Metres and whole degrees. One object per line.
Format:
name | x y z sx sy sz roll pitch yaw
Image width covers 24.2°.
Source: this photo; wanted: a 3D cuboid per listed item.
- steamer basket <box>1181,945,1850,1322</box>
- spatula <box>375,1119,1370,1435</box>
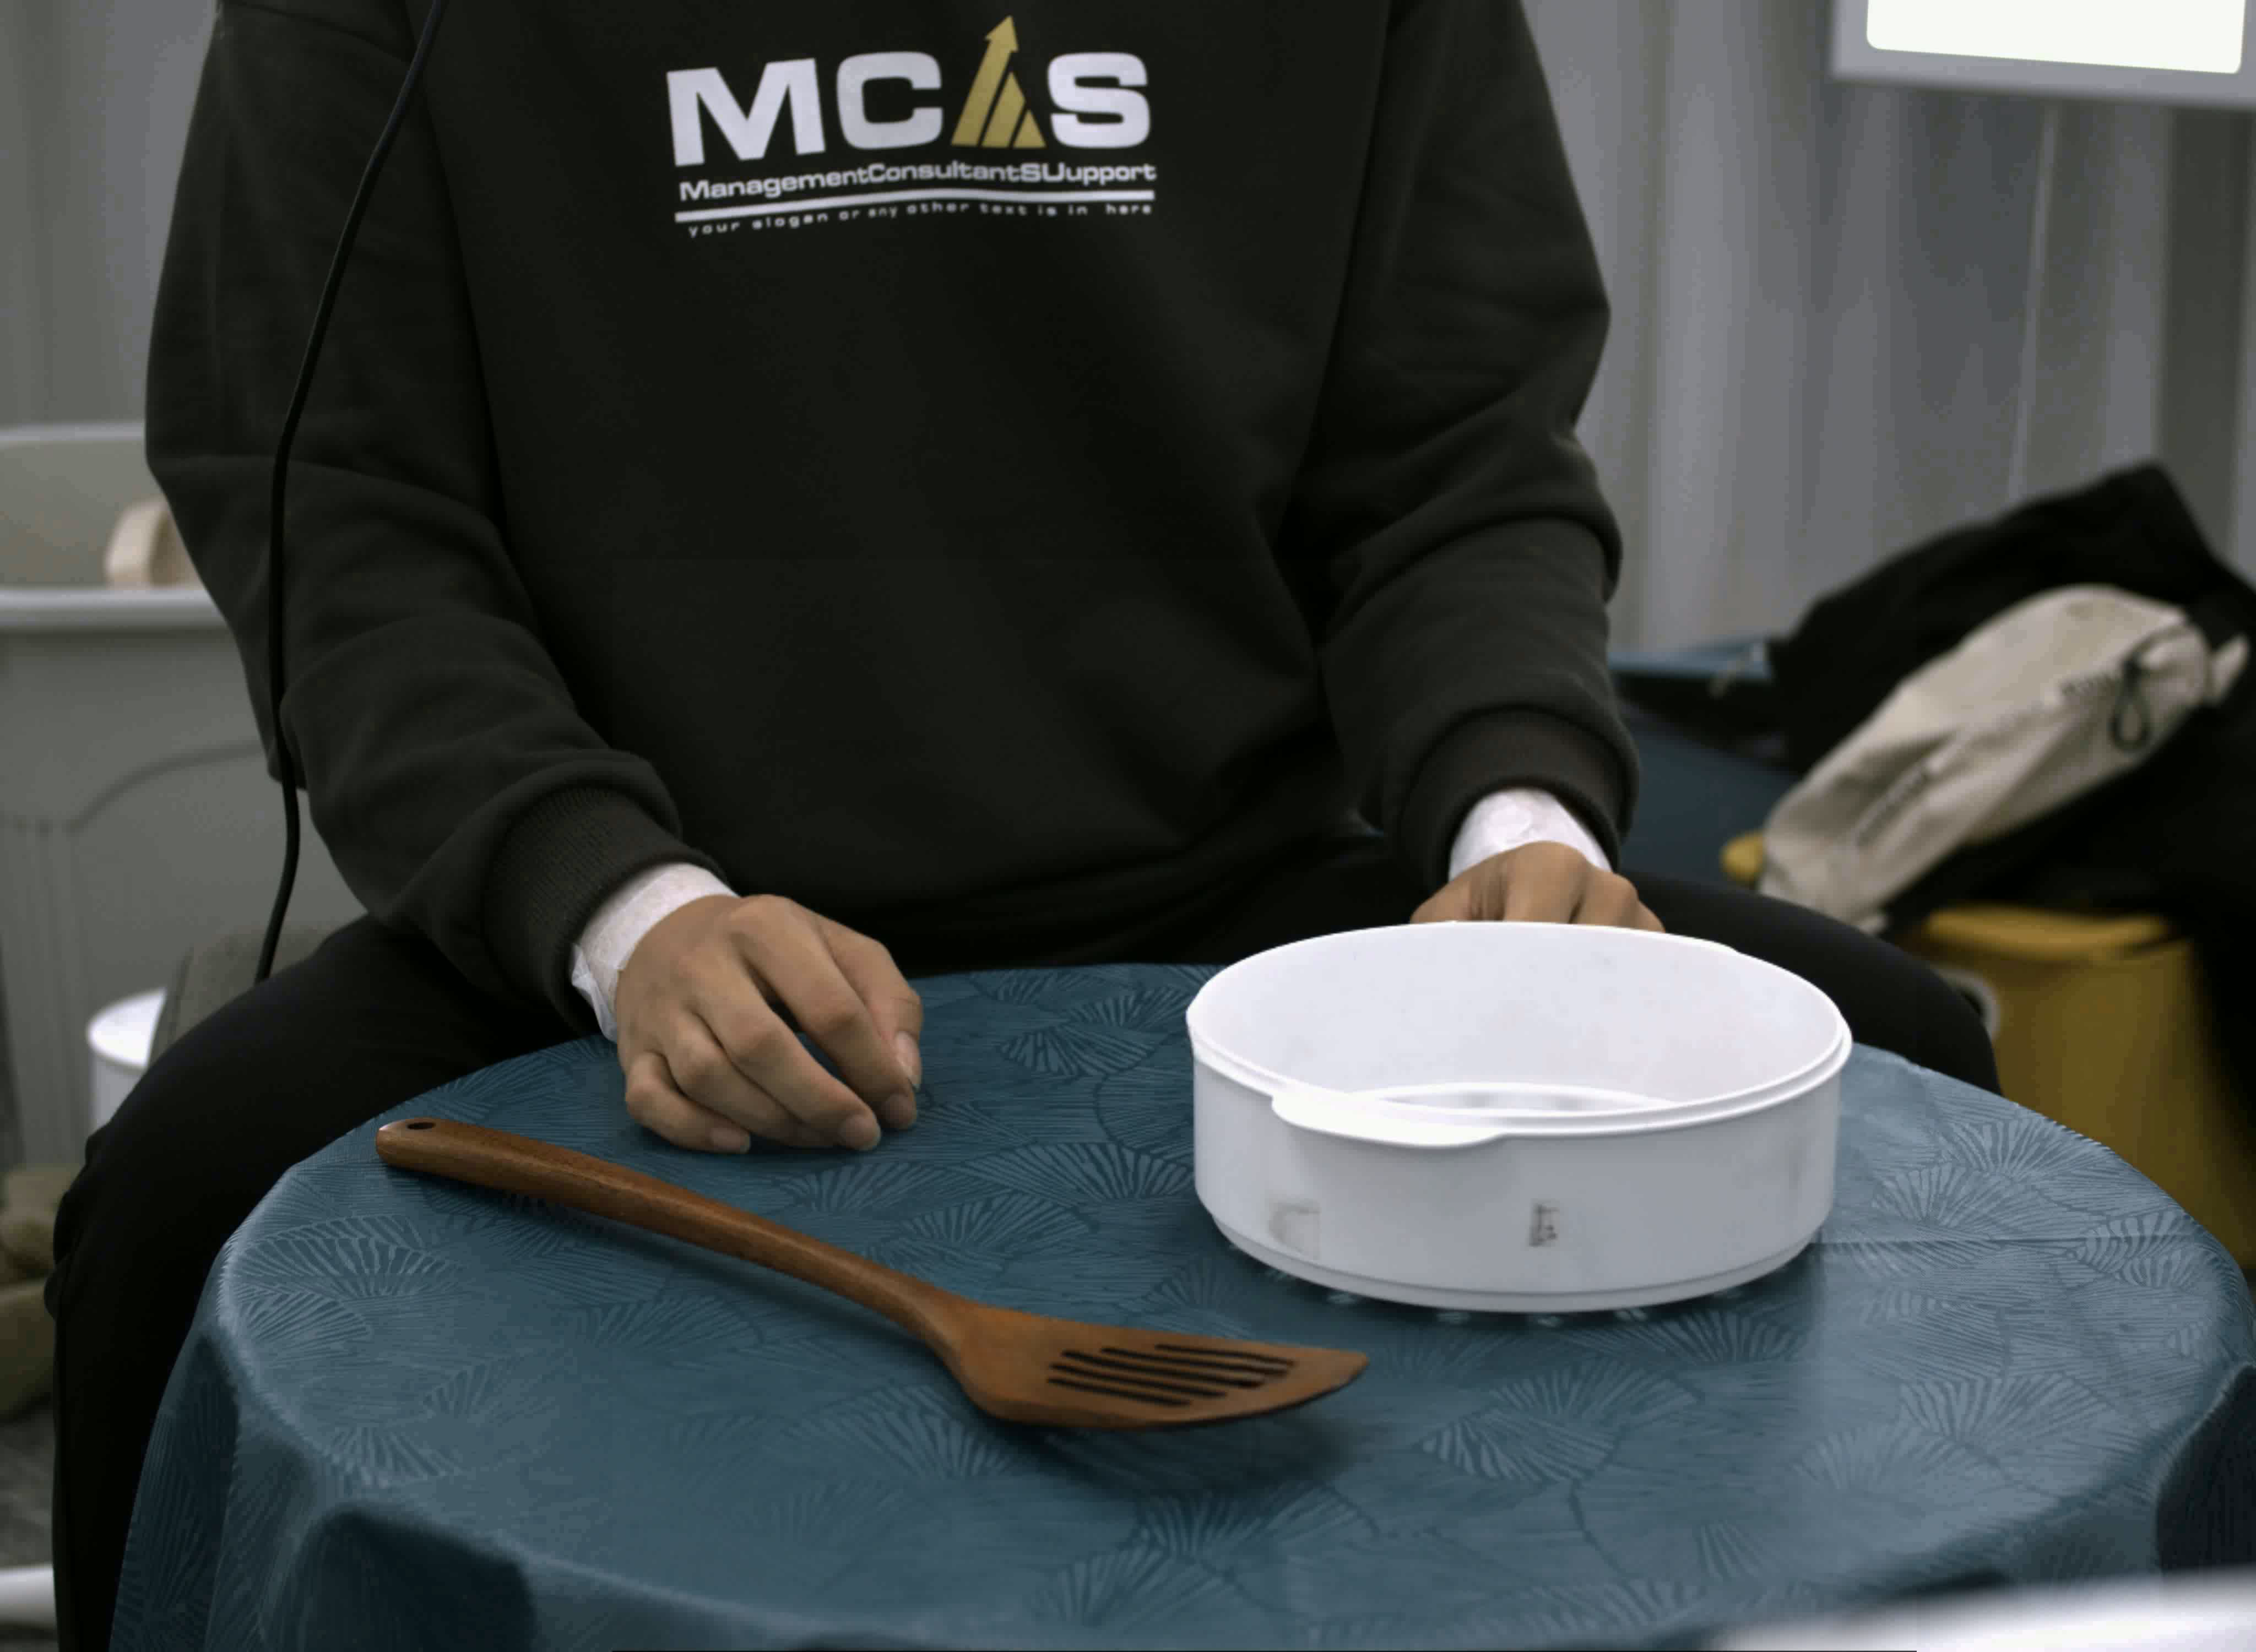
steamer basket | 0.114 0.092 1.588 0.199 0.070 0.231 10 14 25
spatula | -0.094 0.129 1.522 0.380 0.024 0.086 13 17 42
